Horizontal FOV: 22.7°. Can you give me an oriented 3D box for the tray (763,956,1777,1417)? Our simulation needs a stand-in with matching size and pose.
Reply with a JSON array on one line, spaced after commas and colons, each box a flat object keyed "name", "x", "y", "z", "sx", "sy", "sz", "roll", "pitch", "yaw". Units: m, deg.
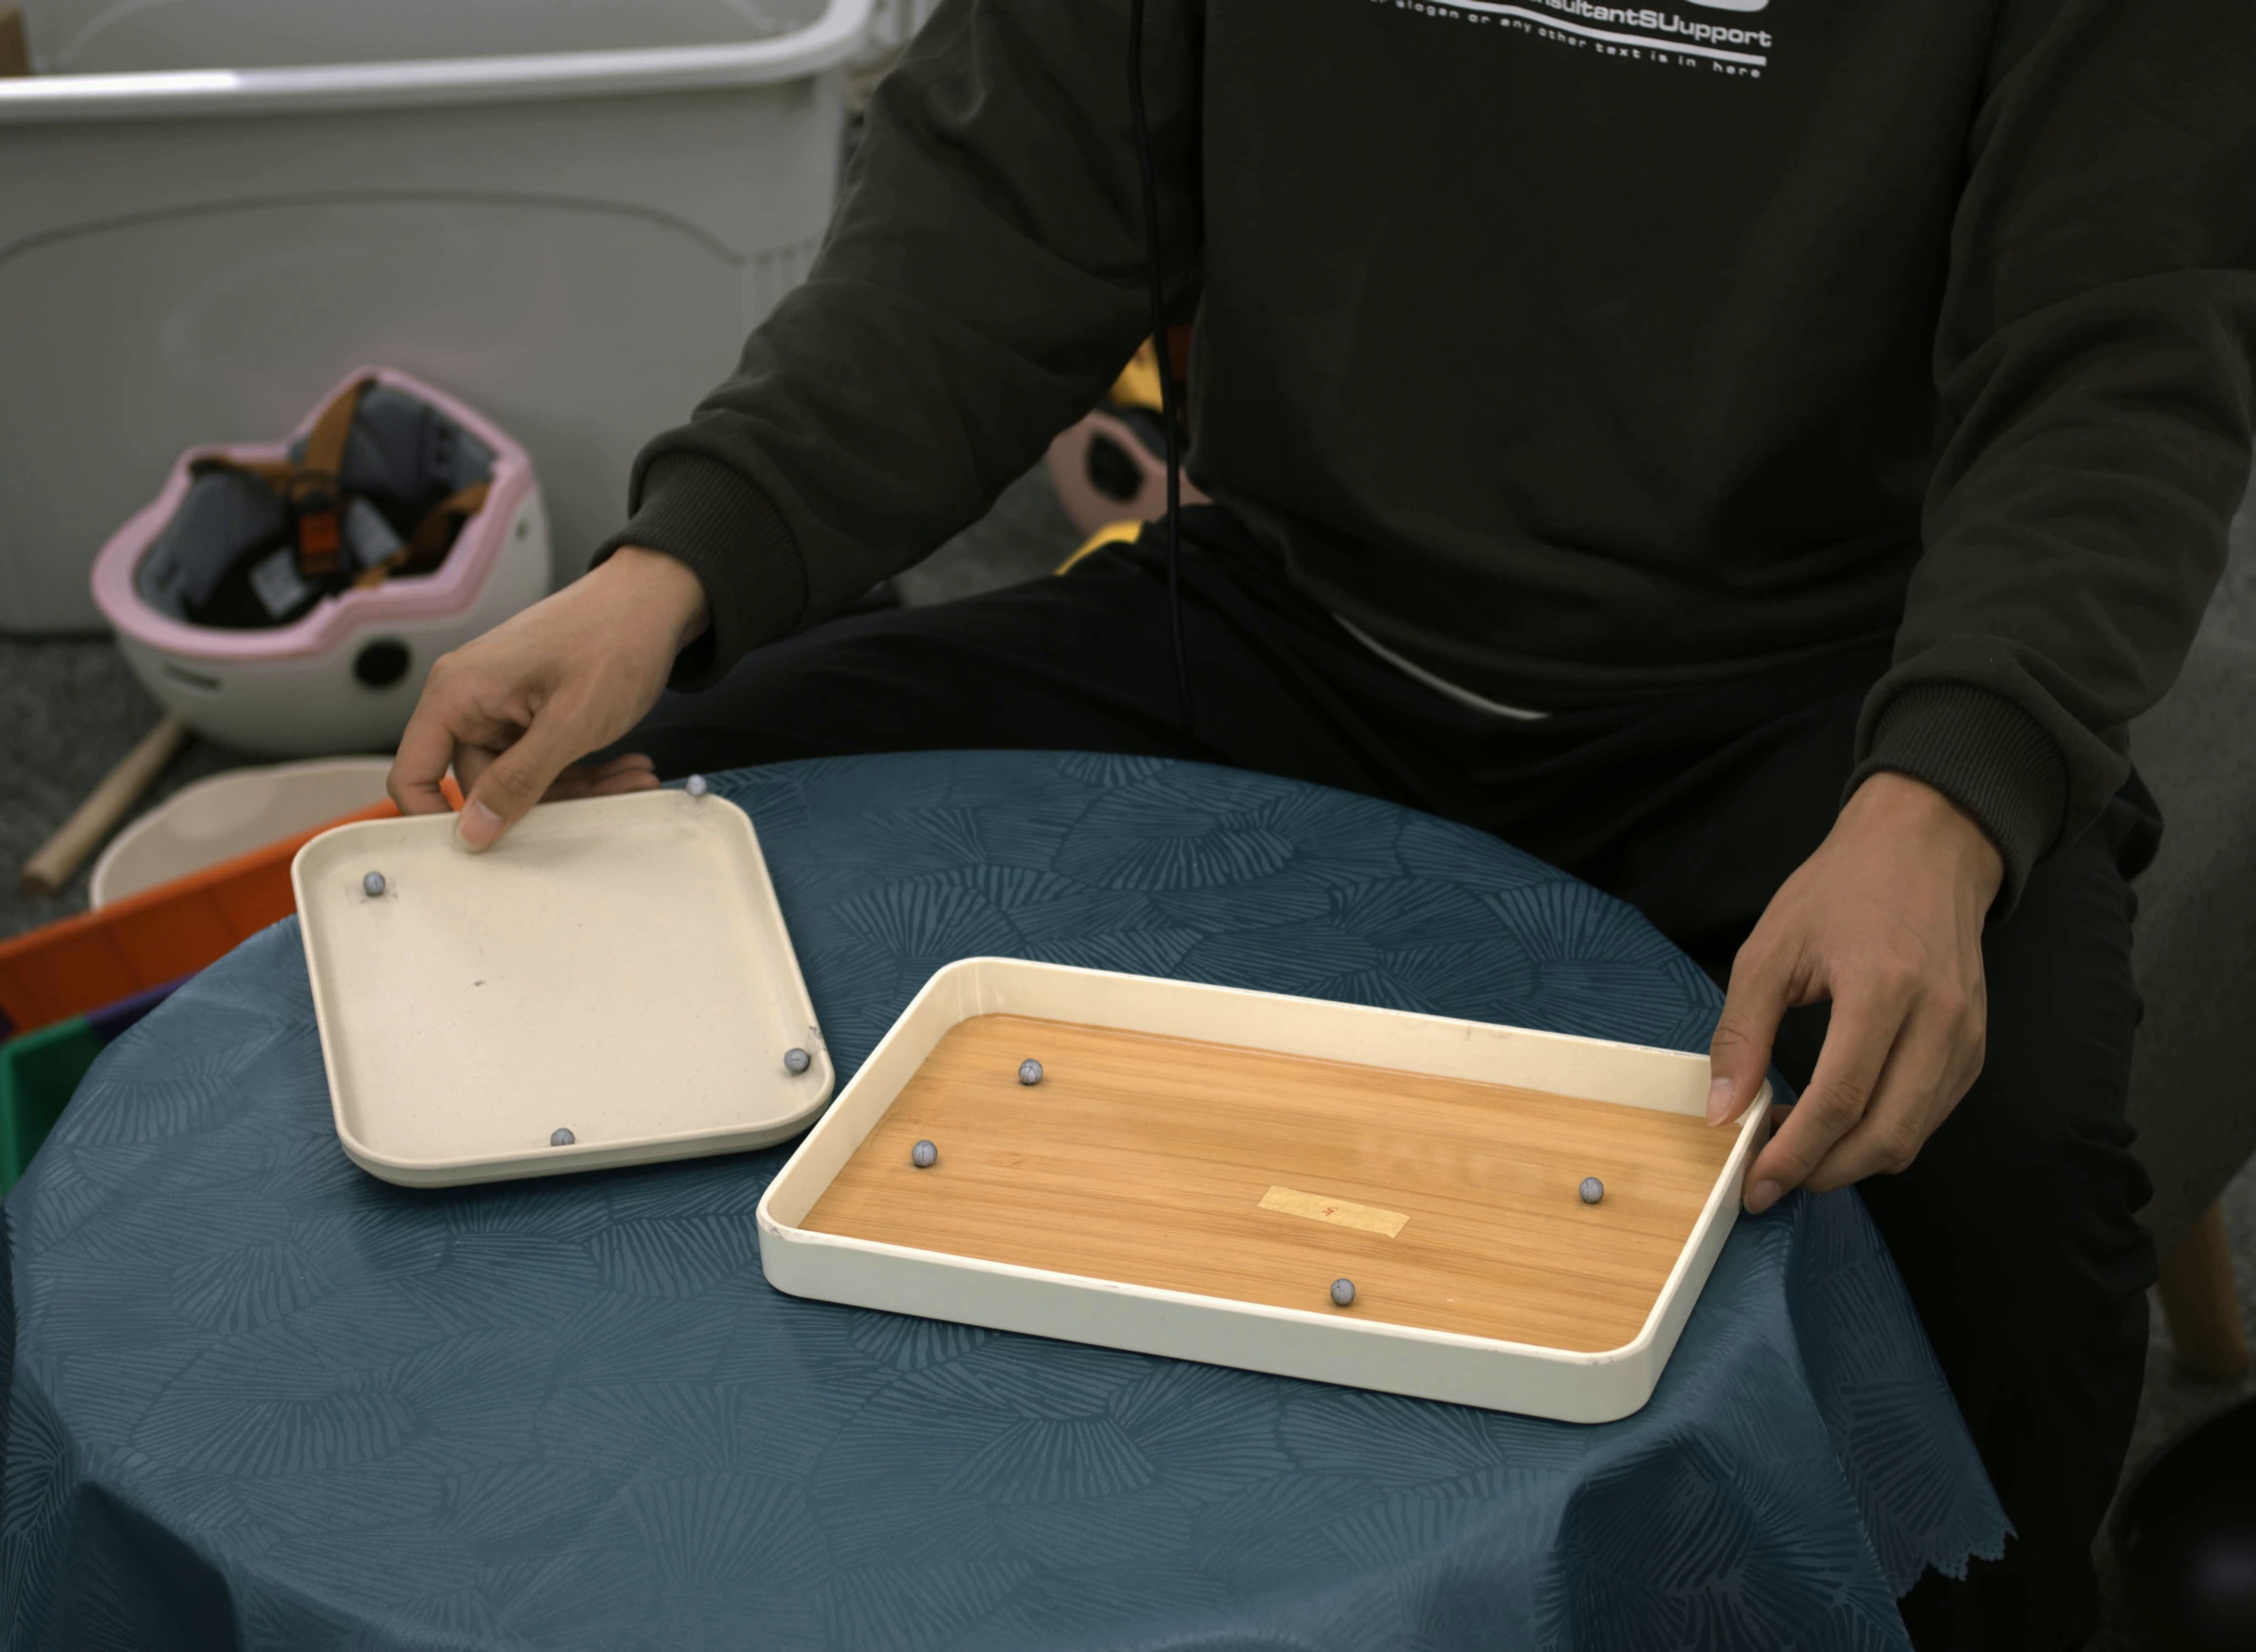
[{"name": "tray", "x": 0.048, "y": 0.115, "z": 1.846, "sx": 0.298, "sy": 0.027, "sz": 0.195, "roll": 7, "pitch": 29, "yaw": 18}]

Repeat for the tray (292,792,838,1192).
[{"name": "tray", "x": -0.201, "y": 0.057, "z": 1.977, "sx": 0.171, "sy": 0.017, "sz": 0.242, "roll": -6, "pitch": 29, "yaw": -11}]
